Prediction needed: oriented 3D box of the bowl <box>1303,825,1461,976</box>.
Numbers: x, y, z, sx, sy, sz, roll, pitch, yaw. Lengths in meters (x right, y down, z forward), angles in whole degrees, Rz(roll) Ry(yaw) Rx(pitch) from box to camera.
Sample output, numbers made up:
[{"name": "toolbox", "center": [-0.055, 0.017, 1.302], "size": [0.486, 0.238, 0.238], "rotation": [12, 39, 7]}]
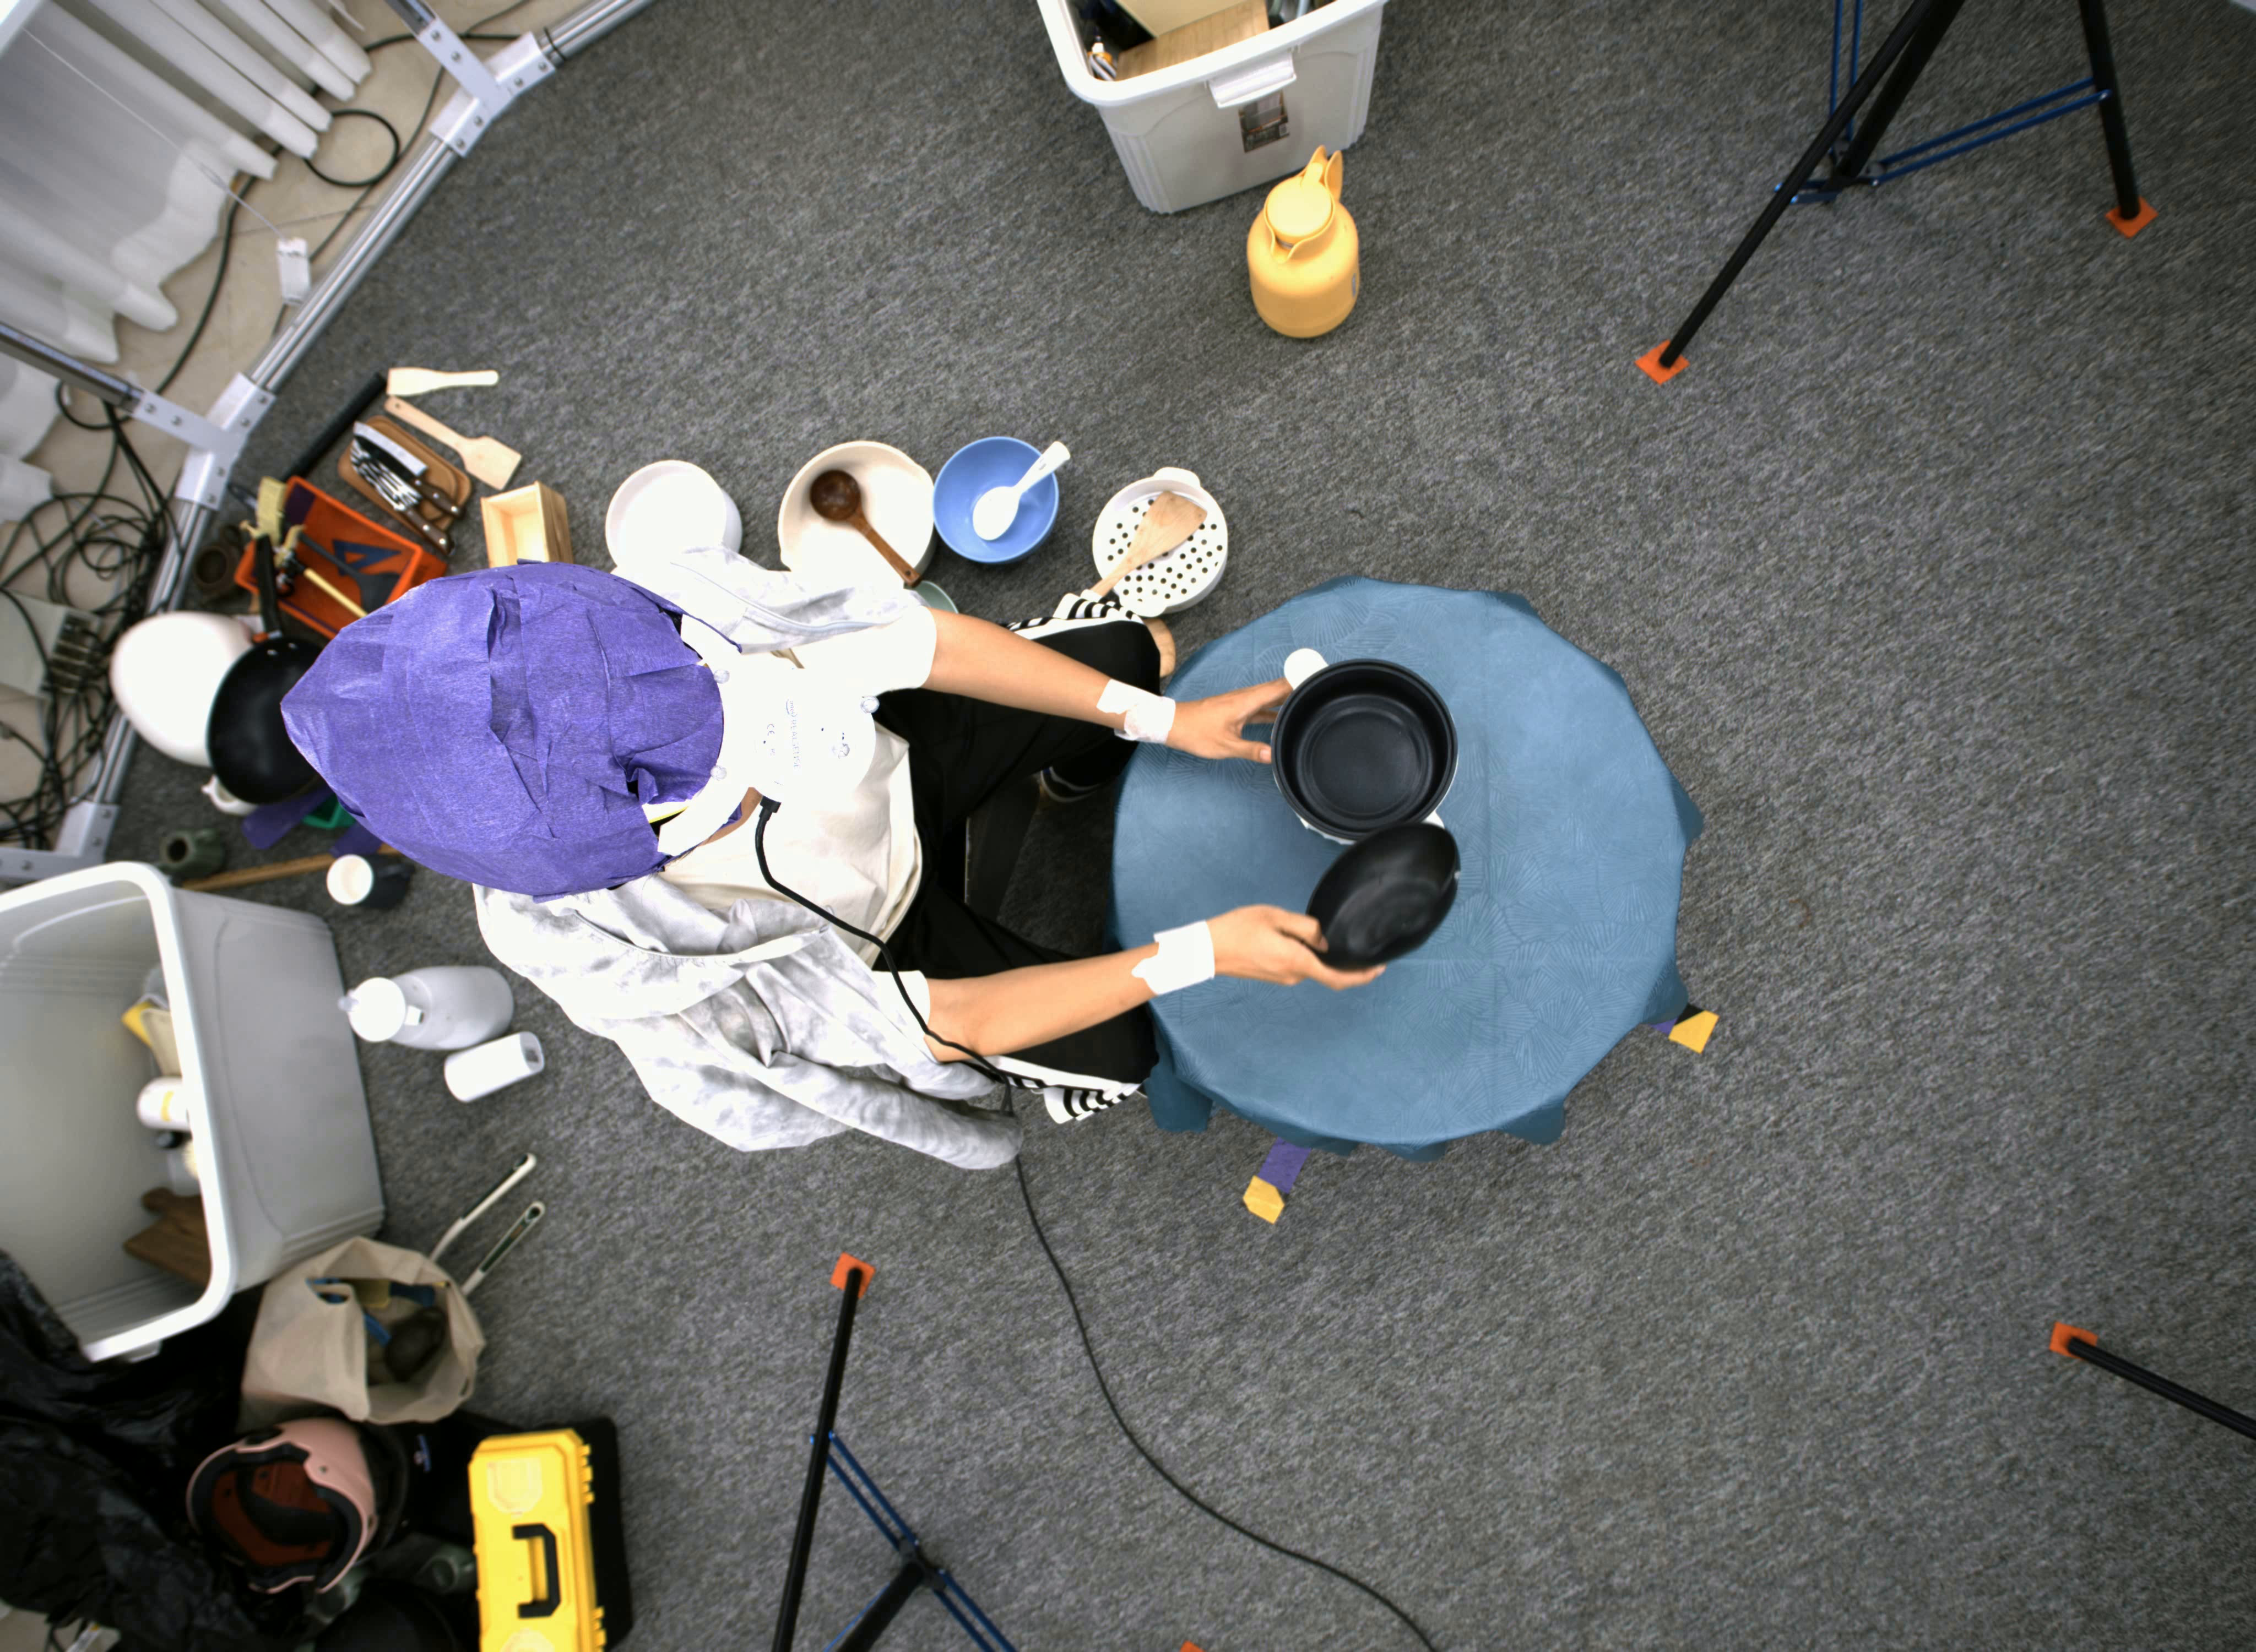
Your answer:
[{"name": "bowl", "center": [0.242, 0.079, 1.273], "size": [0.171, 0.135, 0.067], "rotation": [-43, 125, 5]}]

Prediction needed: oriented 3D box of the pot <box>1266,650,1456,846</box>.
[{"name": "pot", "center": [0.242, -0.074, 1.401], "size": [0.192, 0.142, 0.239], "rotation": [-37, 81, 9]}]
